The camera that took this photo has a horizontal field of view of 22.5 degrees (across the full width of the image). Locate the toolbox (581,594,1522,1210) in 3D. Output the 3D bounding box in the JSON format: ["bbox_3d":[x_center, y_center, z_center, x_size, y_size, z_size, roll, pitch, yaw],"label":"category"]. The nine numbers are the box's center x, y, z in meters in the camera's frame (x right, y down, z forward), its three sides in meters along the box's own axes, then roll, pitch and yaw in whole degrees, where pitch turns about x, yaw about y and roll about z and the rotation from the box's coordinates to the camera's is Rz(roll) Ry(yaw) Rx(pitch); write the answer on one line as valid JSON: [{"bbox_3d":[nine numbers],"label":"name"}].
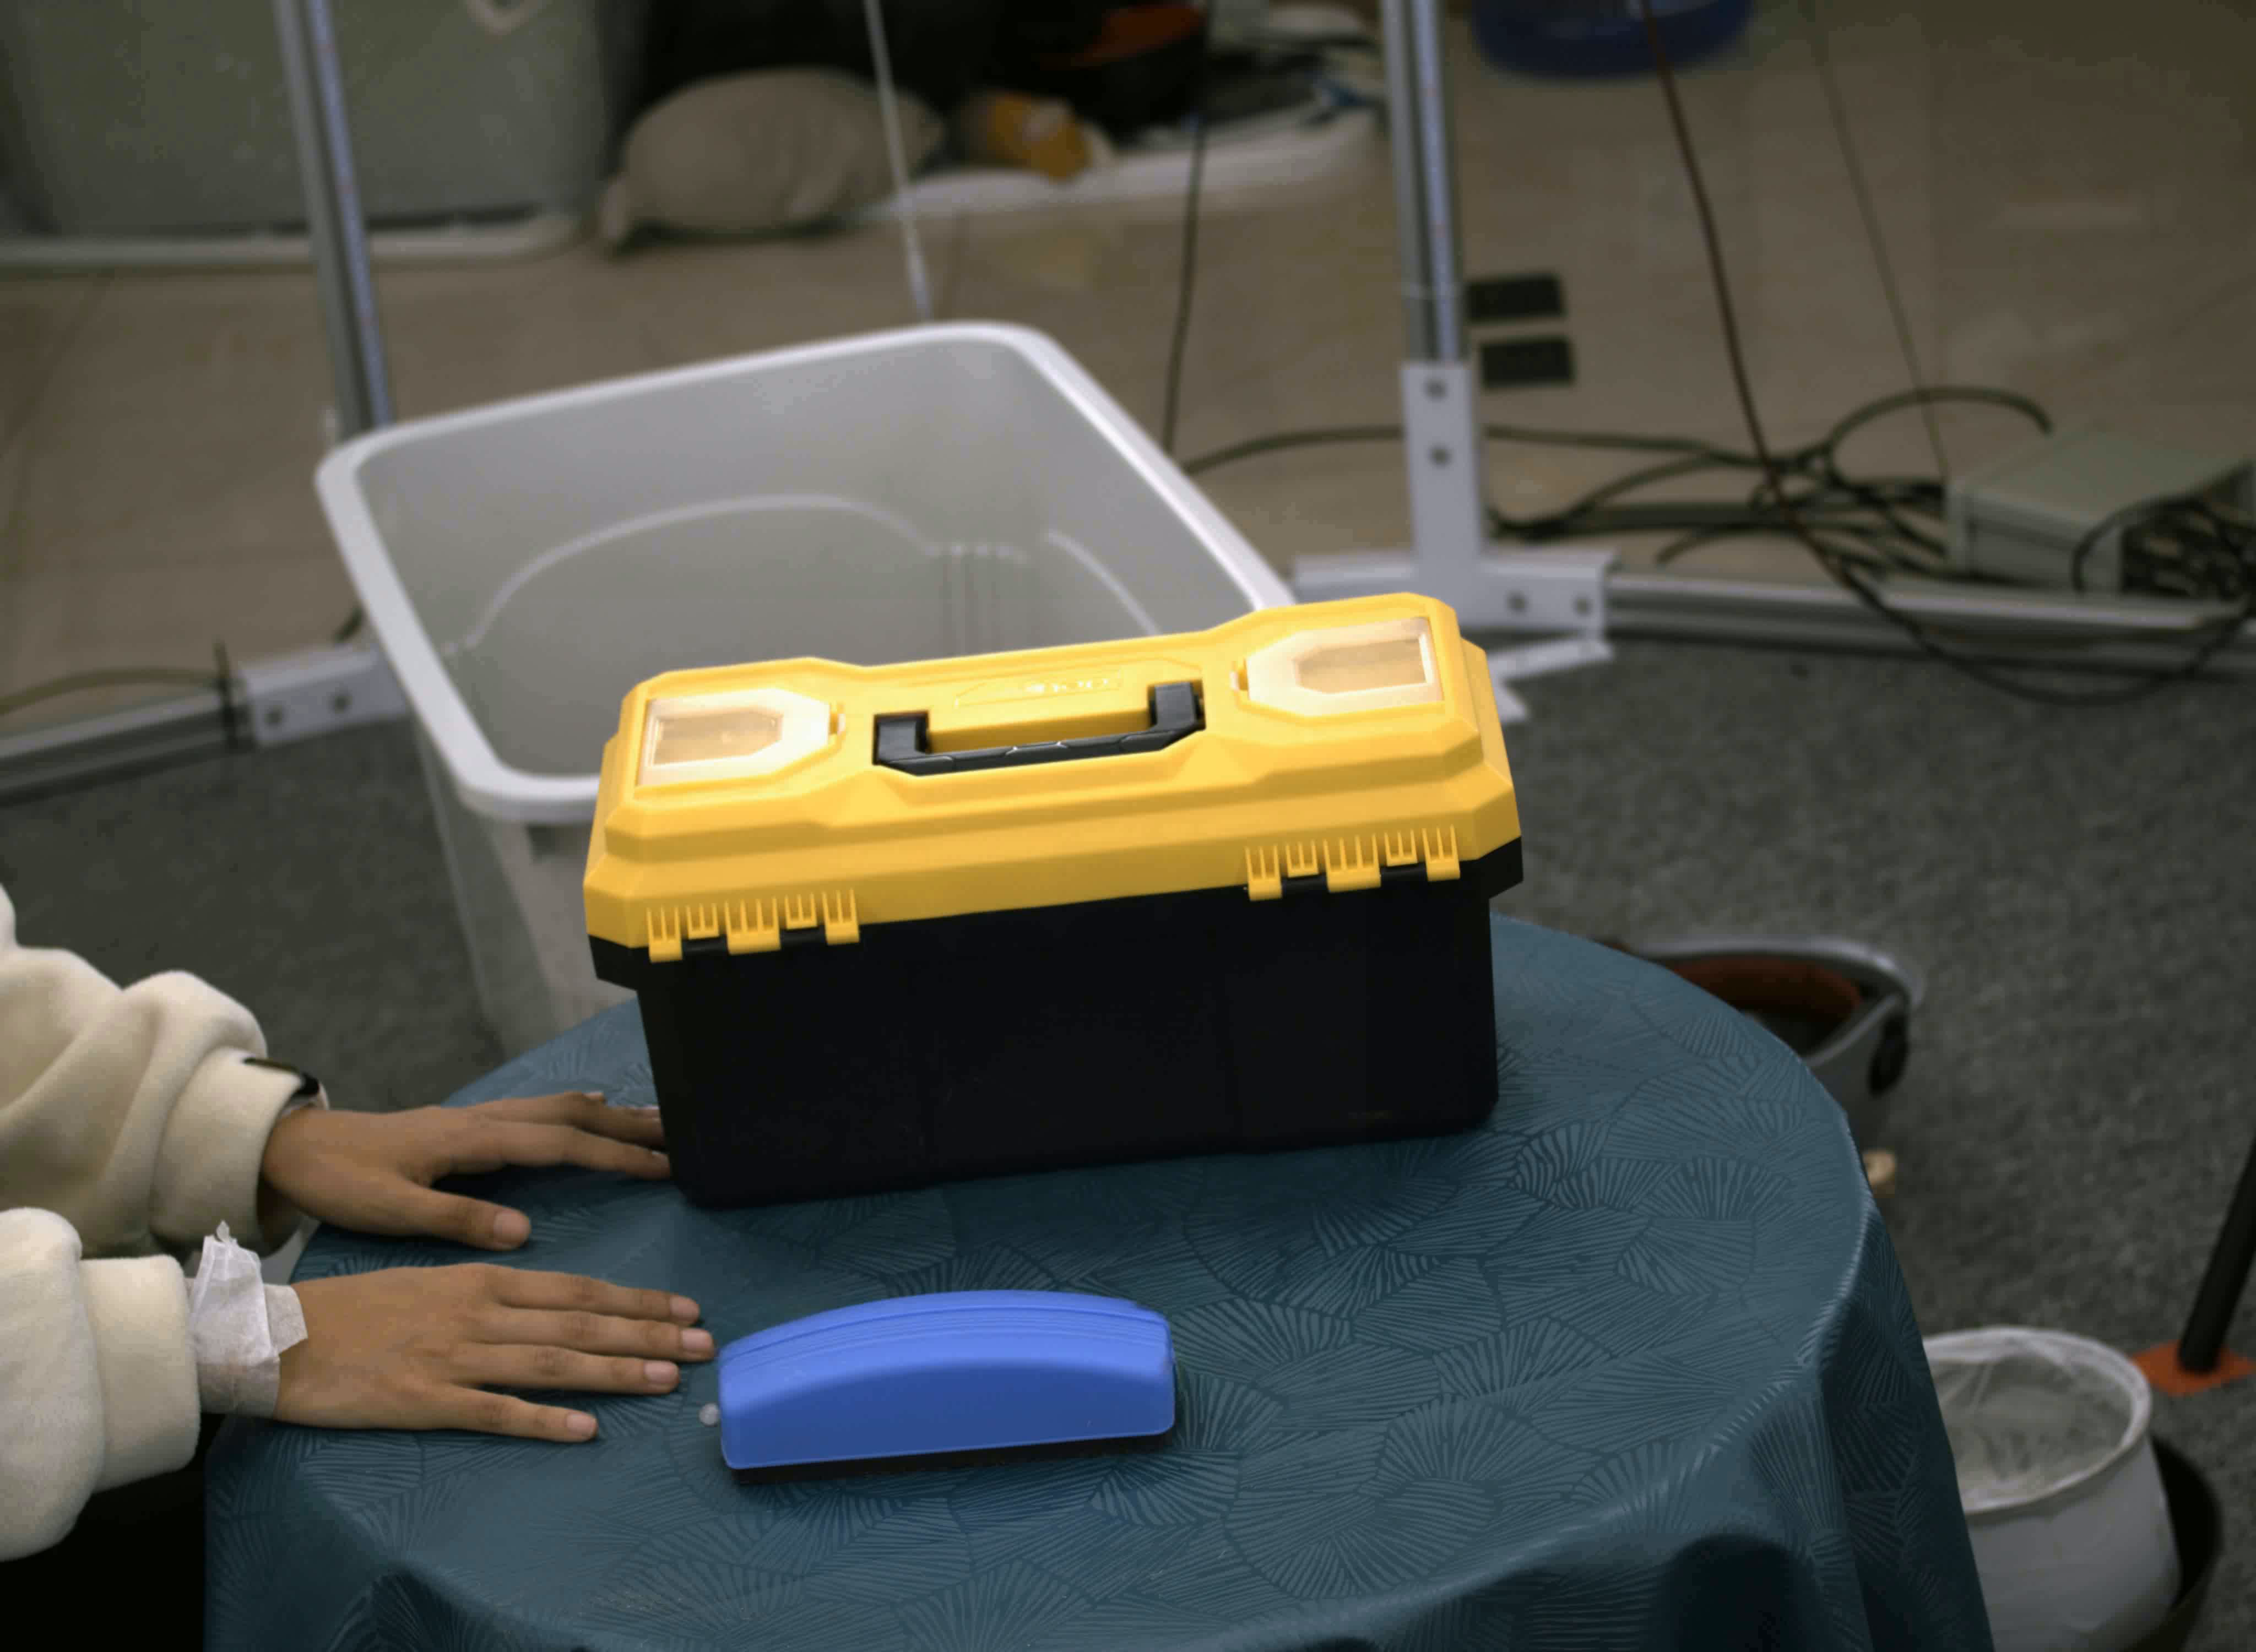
[{"bbox_3d":[-0.026,0.029,2.183,0.351,0.175,0.178,-6,26,2],"label":"toolbox"}]

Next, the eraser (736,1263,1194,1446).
[{"bbox_3d":[-0.058,0.185,2.002,0.162,0.048,0.053,1,28,11],"label":"eraser"}]
